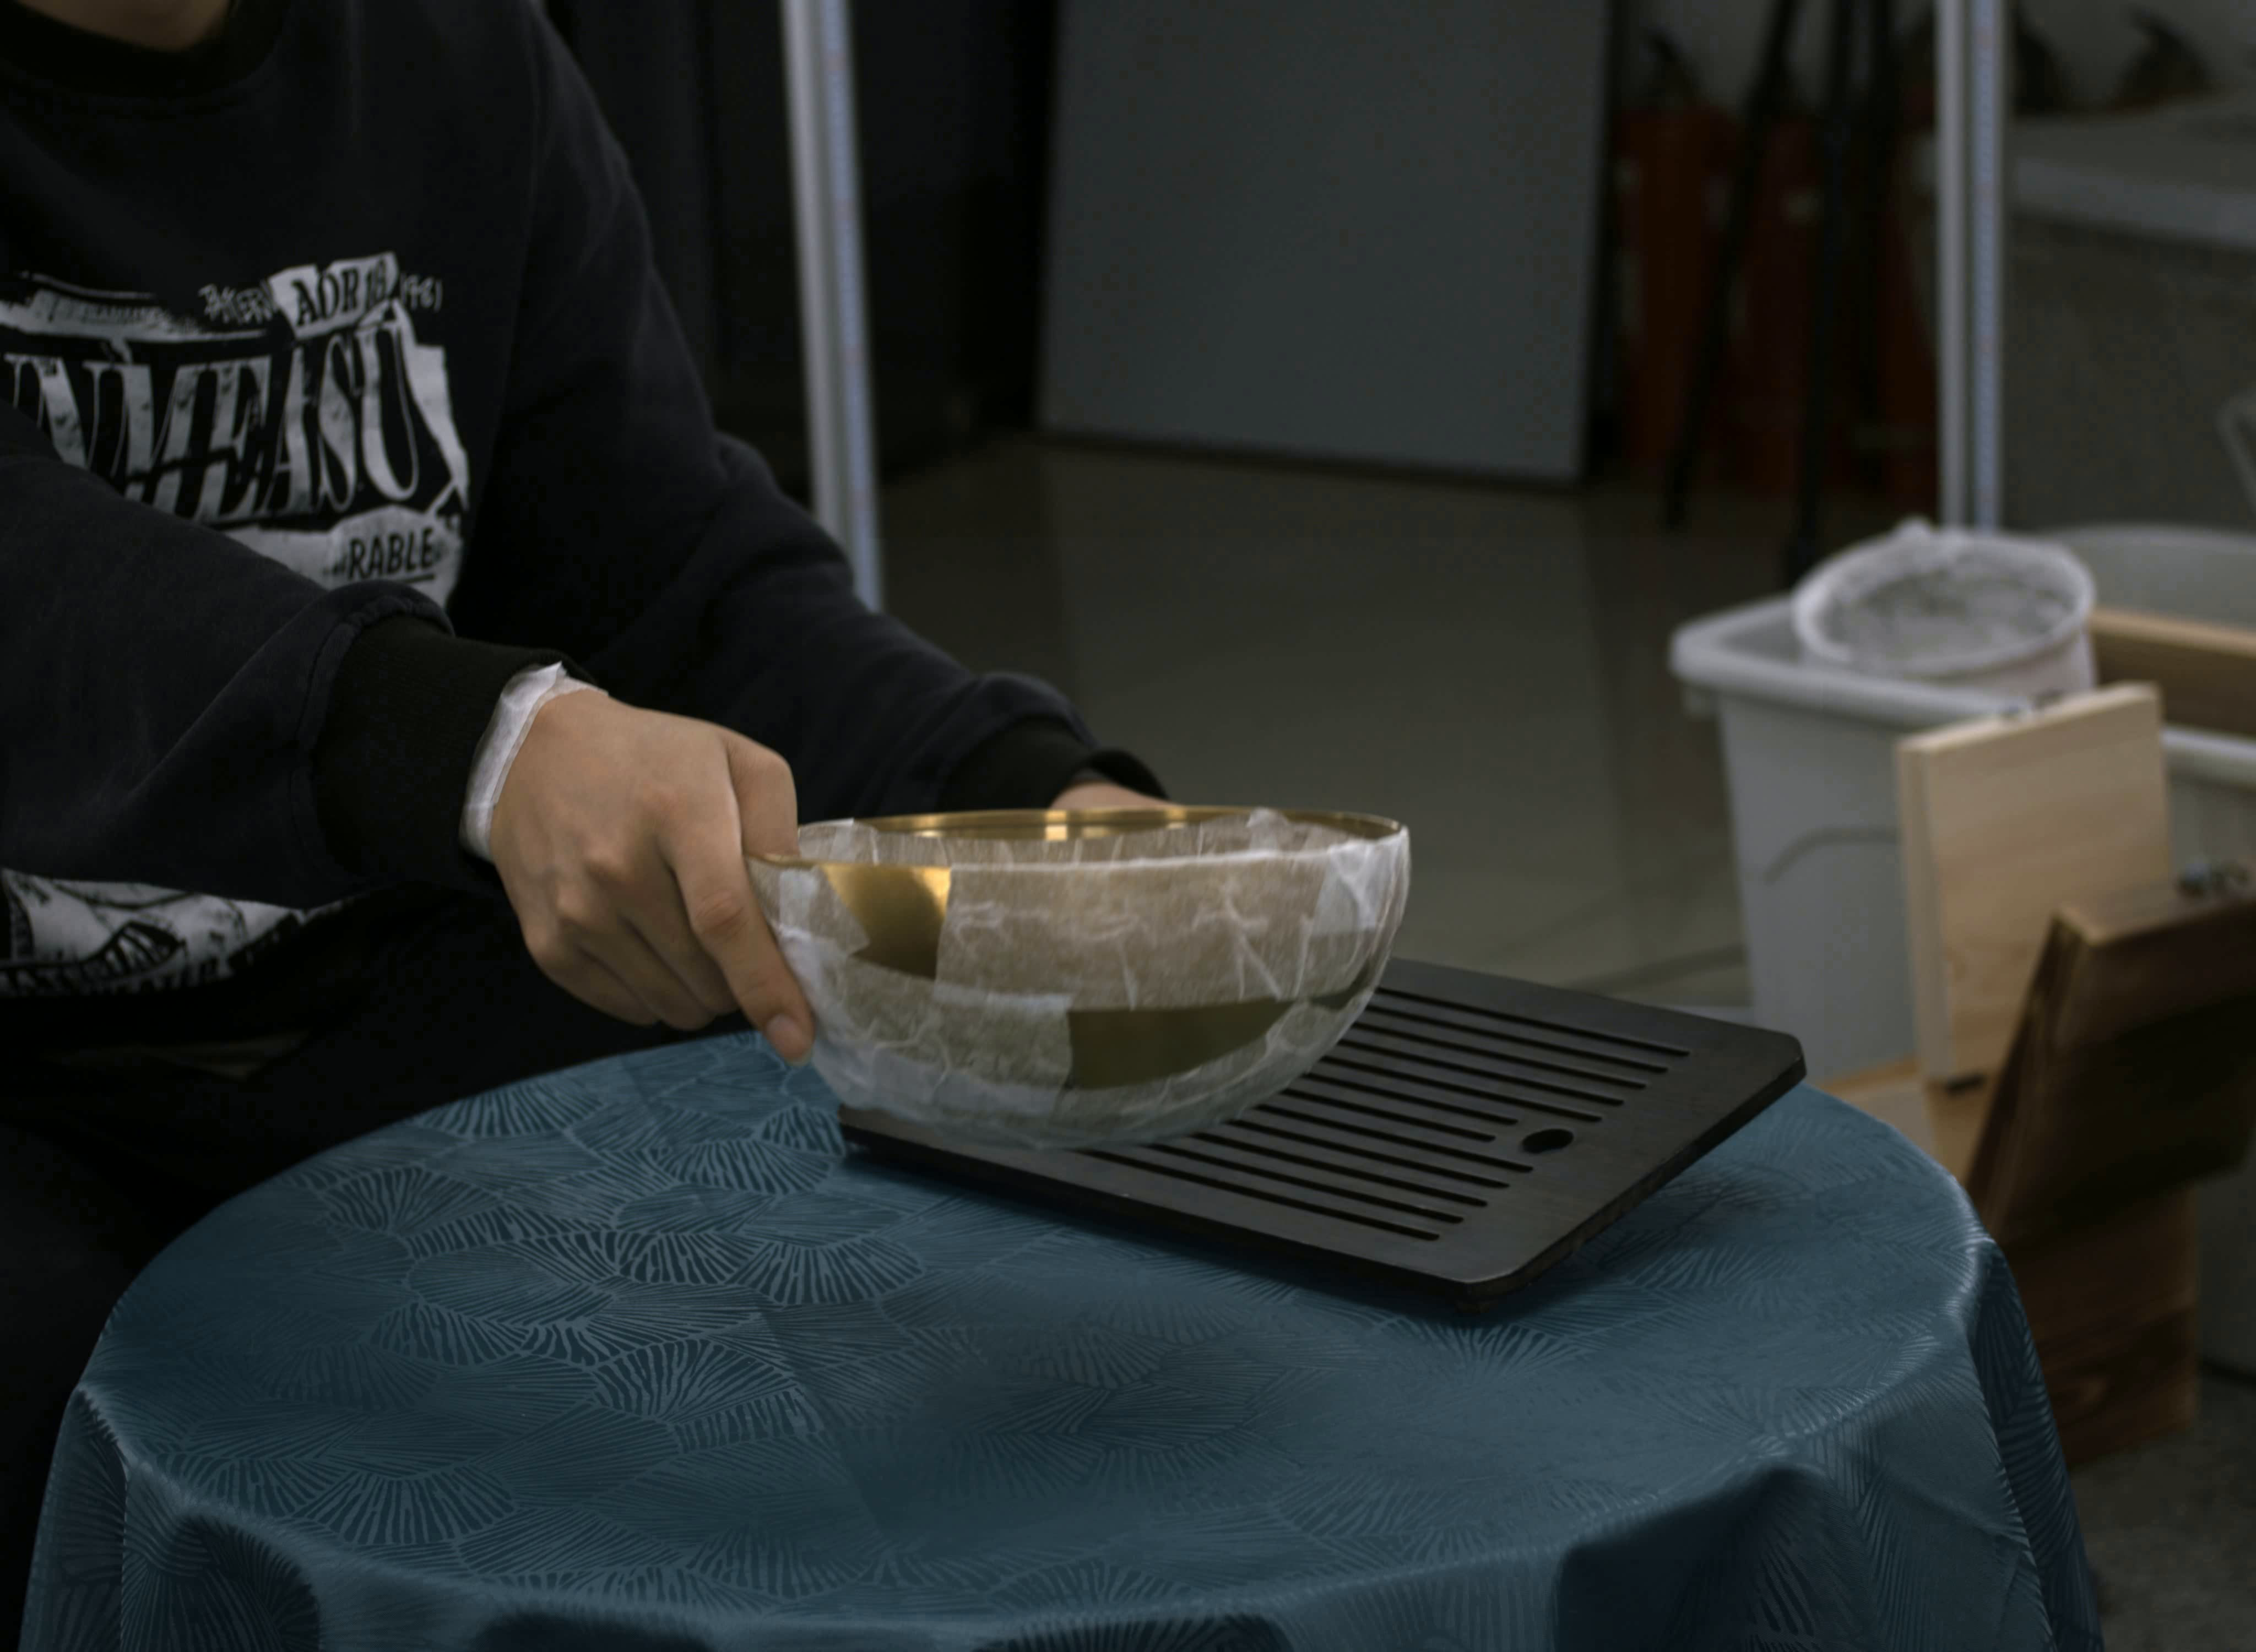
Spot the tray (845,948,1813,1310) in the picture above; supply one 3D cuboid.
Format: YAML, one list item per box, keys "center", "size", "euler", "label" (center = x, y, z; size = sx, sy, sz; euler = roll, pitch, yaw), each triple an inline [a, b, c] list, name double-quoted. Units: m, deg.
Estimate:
- center: [0.062, 0.090, 1.772]
  size: [0.309, 0.019, 0.167]
  euler: [10, 33, 45]
  label: "tray"

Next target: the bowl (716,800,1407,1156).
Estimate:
- center: [-0.017, 0.046, 1.577]
  size: [0.212, 0.096, 0.215]
  euler: [-2, 5, -1]
  label: "bowl"
